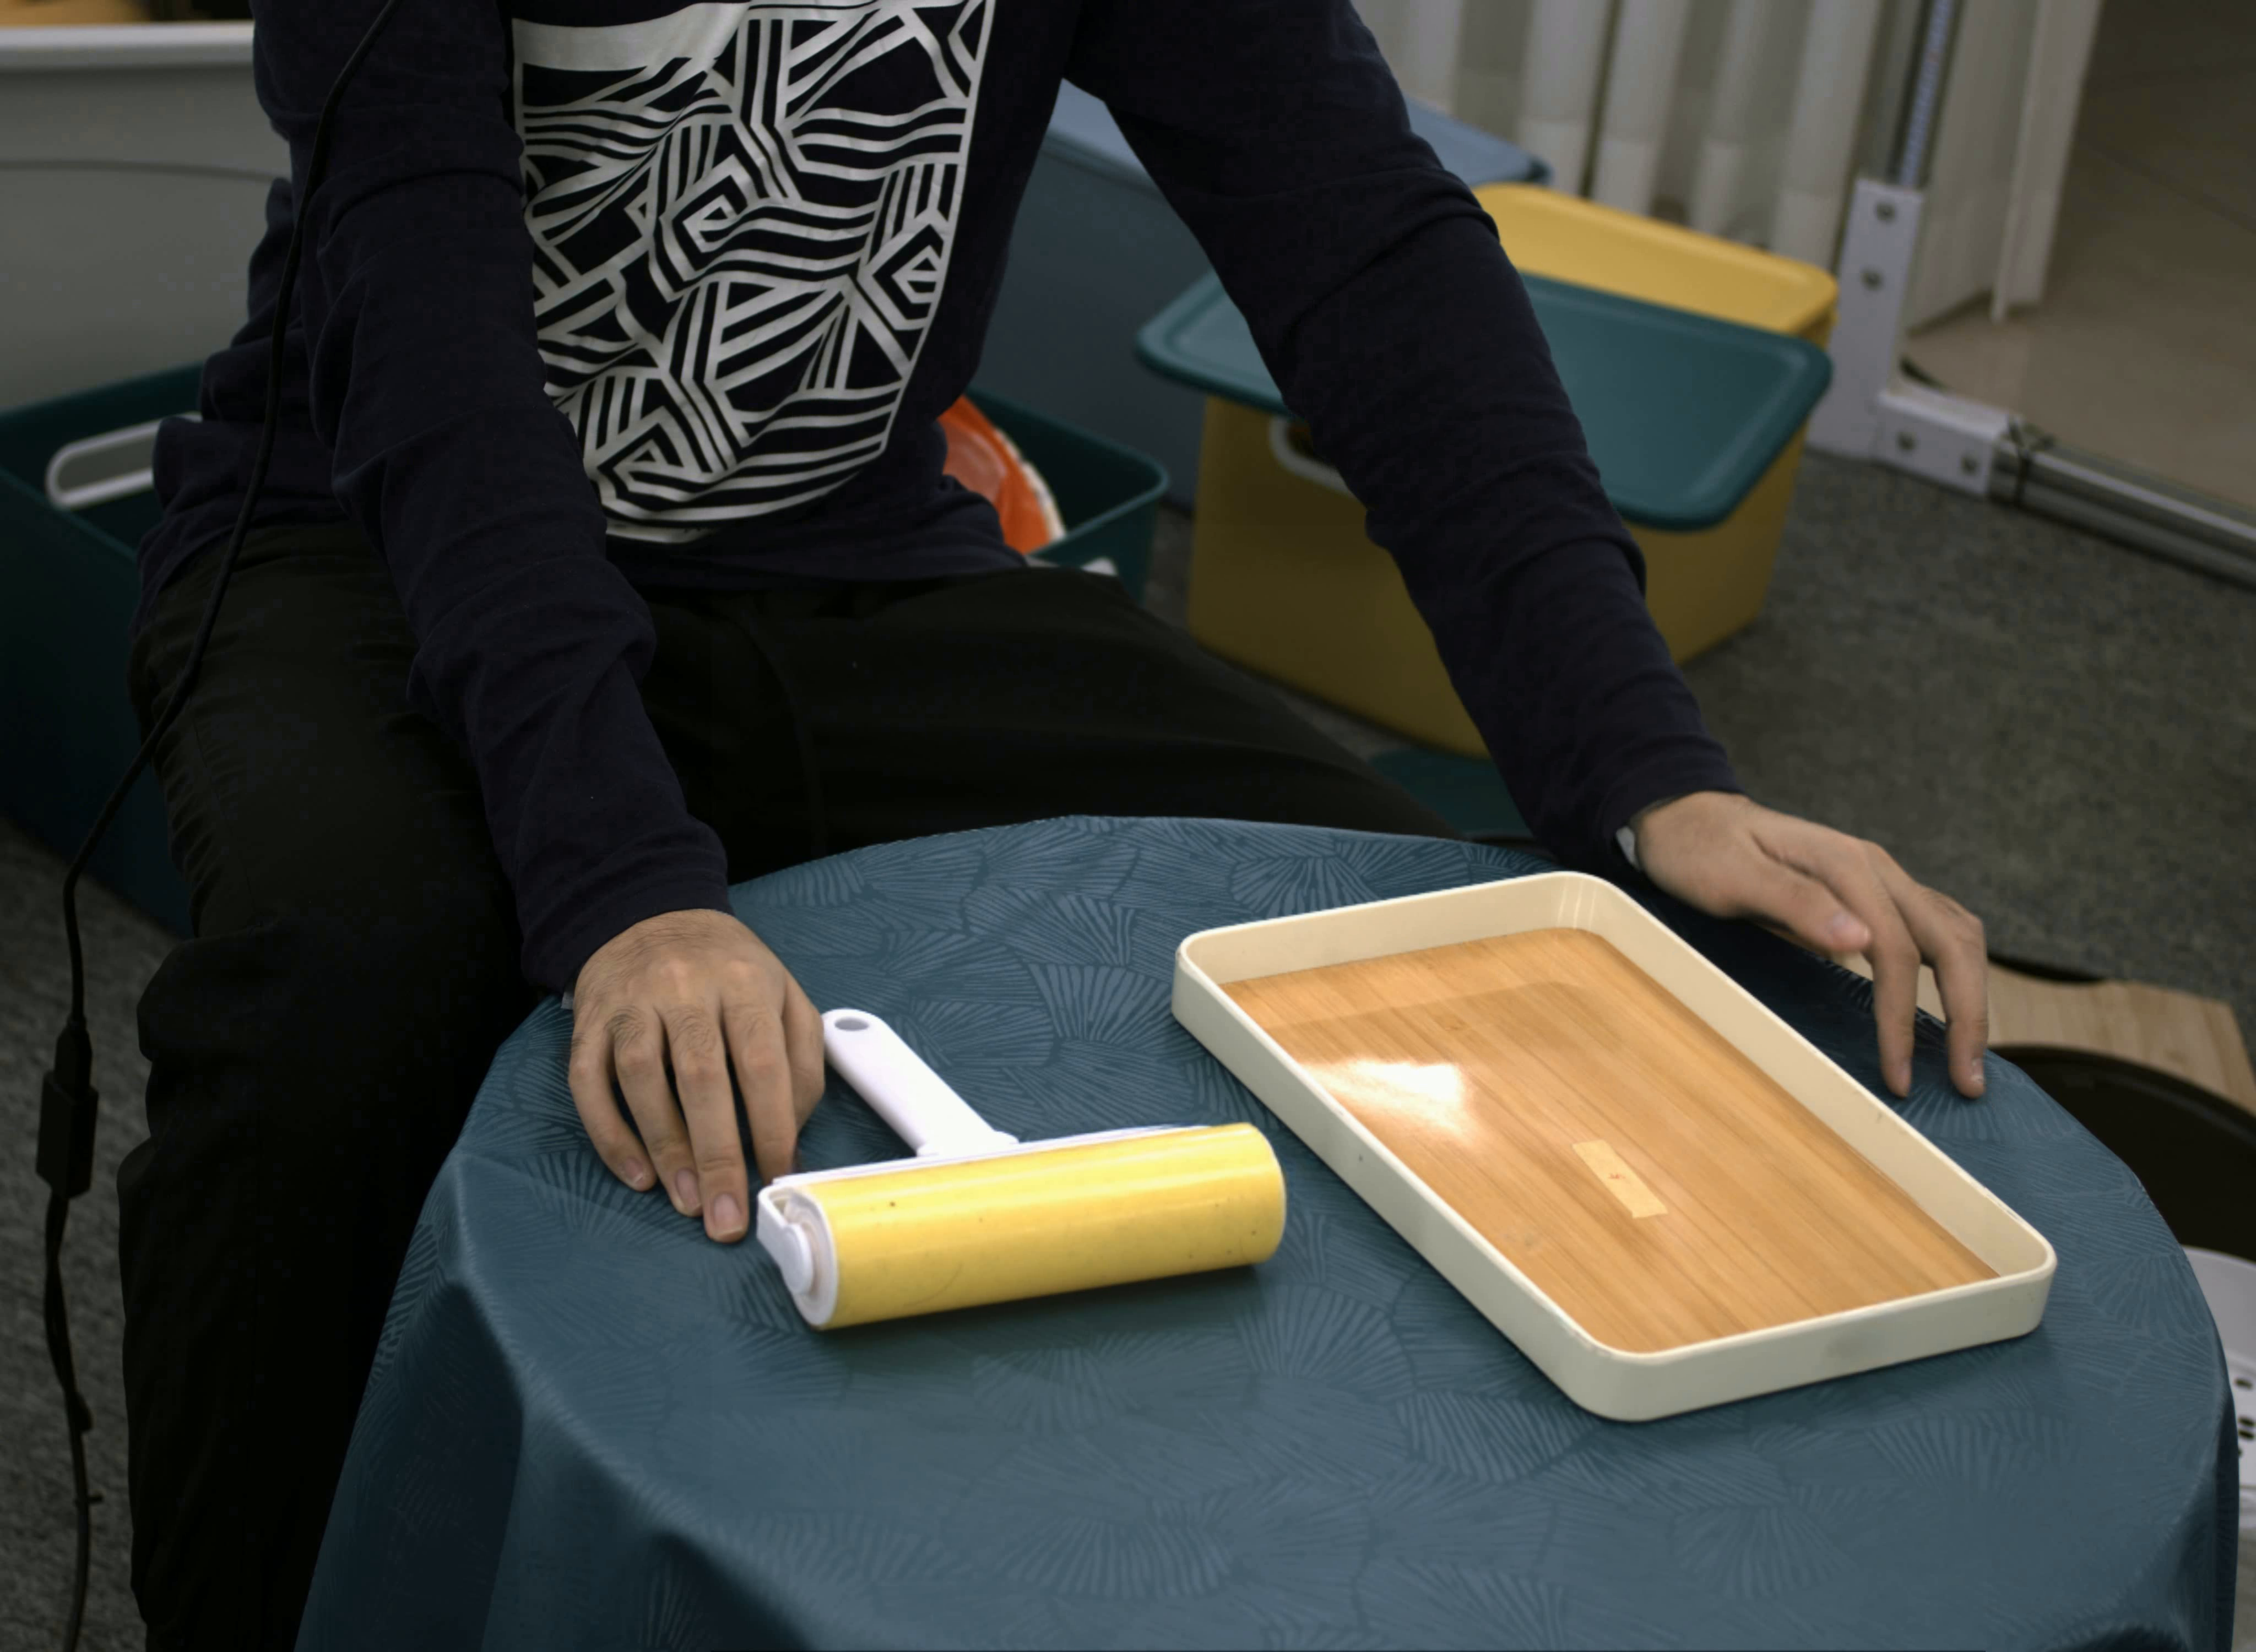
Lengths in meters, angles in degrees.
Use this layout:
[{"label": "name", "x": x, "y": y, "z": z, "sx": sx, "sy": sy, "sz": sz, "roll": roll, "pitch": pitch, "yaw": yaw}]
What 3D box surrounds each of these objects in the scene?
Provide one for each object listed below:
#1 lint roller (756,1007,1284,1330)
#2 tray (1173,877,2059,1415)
[{"label": "lint roller", "x": -0.062, "y": 0.097, "z": 1.789, "sx": 0.173, "sy": 0.051, "sz": 0.194, "roll": -7, "pitch": 32, "yaw": -26}, {"label": "tray", "x": 0.163, "y": 0.105, "z": 1.850, "sx": 0.190, "sy": 0.027, "sz": 0.303, "roll": -8, "pitch": 30, "yaw": -28}]
